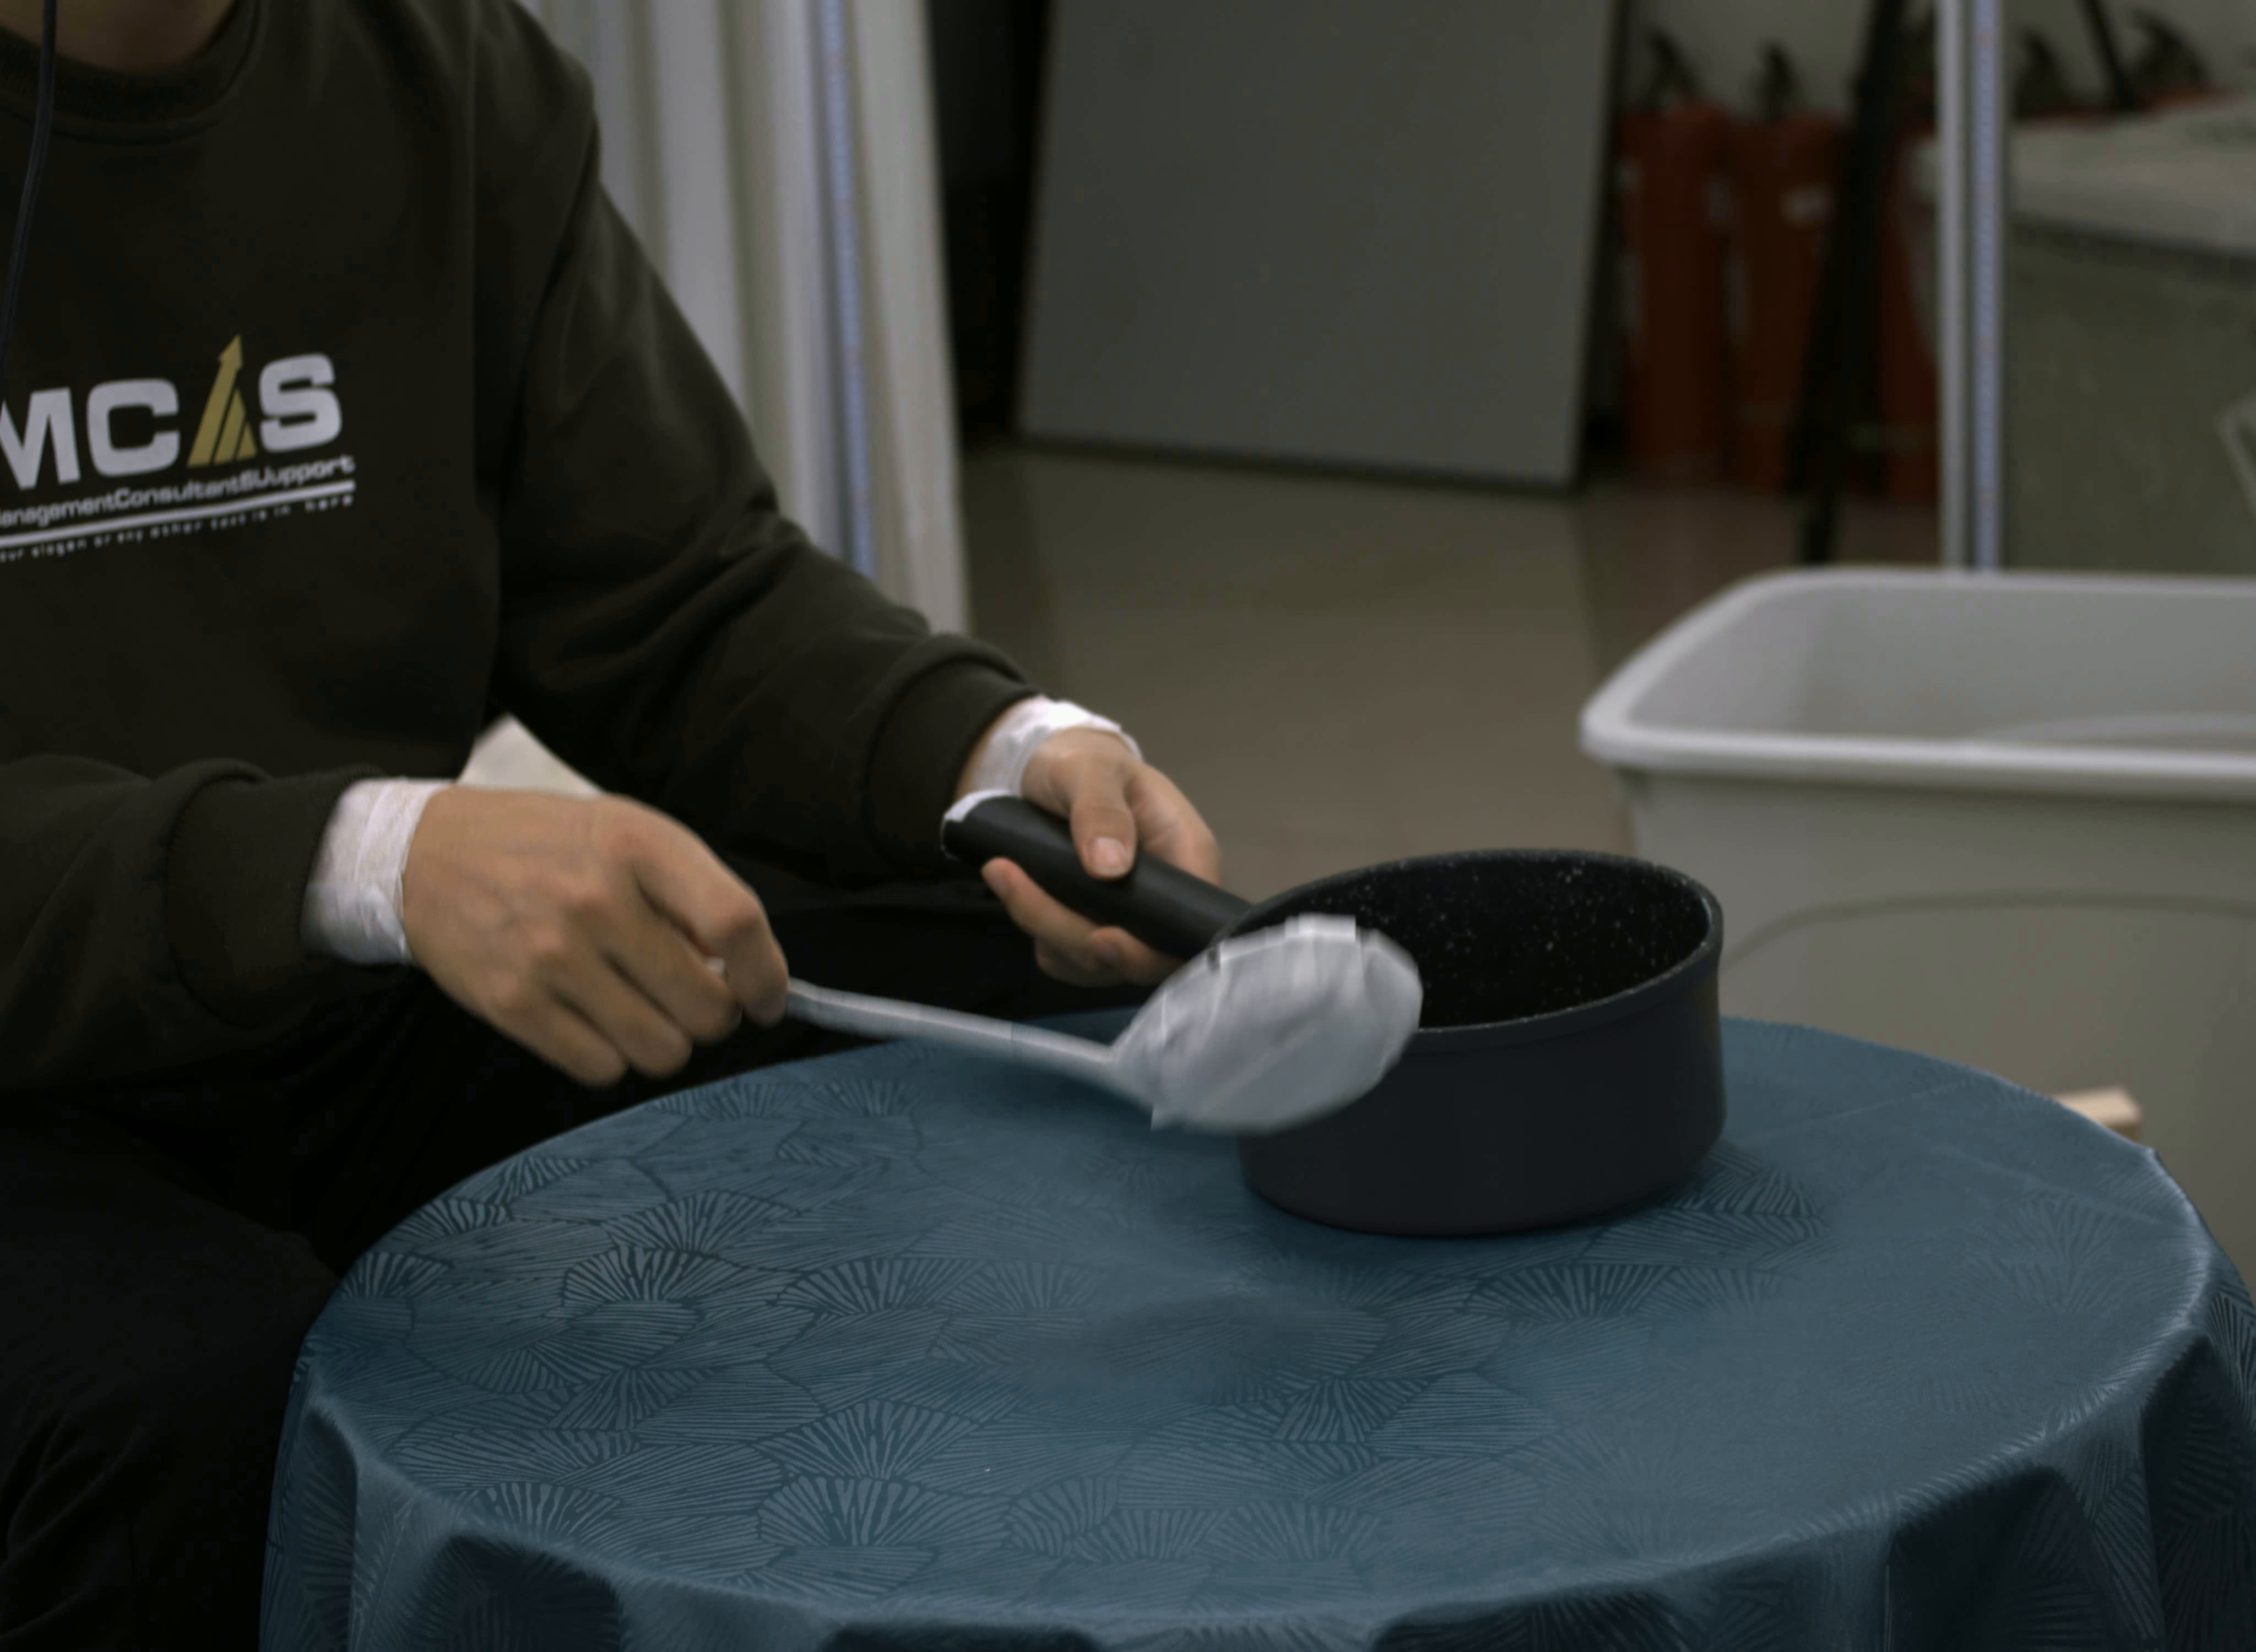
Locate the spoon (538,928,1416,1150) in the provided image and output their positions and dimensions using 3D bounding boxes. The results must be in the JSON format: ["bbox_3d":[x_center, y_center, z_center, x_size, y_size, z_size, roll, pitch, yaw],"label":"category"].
[{"bbox_3d":[-0.048,0.052,1.659,0.277,0.100,0.059,9,51,22],"label":"spoon"}]

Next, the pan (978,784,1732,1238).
[{"bbox_3d":[0.063,0.056,1.822,0.168,0.087,0.332,-19,21,-36],"label":"pan"}]
